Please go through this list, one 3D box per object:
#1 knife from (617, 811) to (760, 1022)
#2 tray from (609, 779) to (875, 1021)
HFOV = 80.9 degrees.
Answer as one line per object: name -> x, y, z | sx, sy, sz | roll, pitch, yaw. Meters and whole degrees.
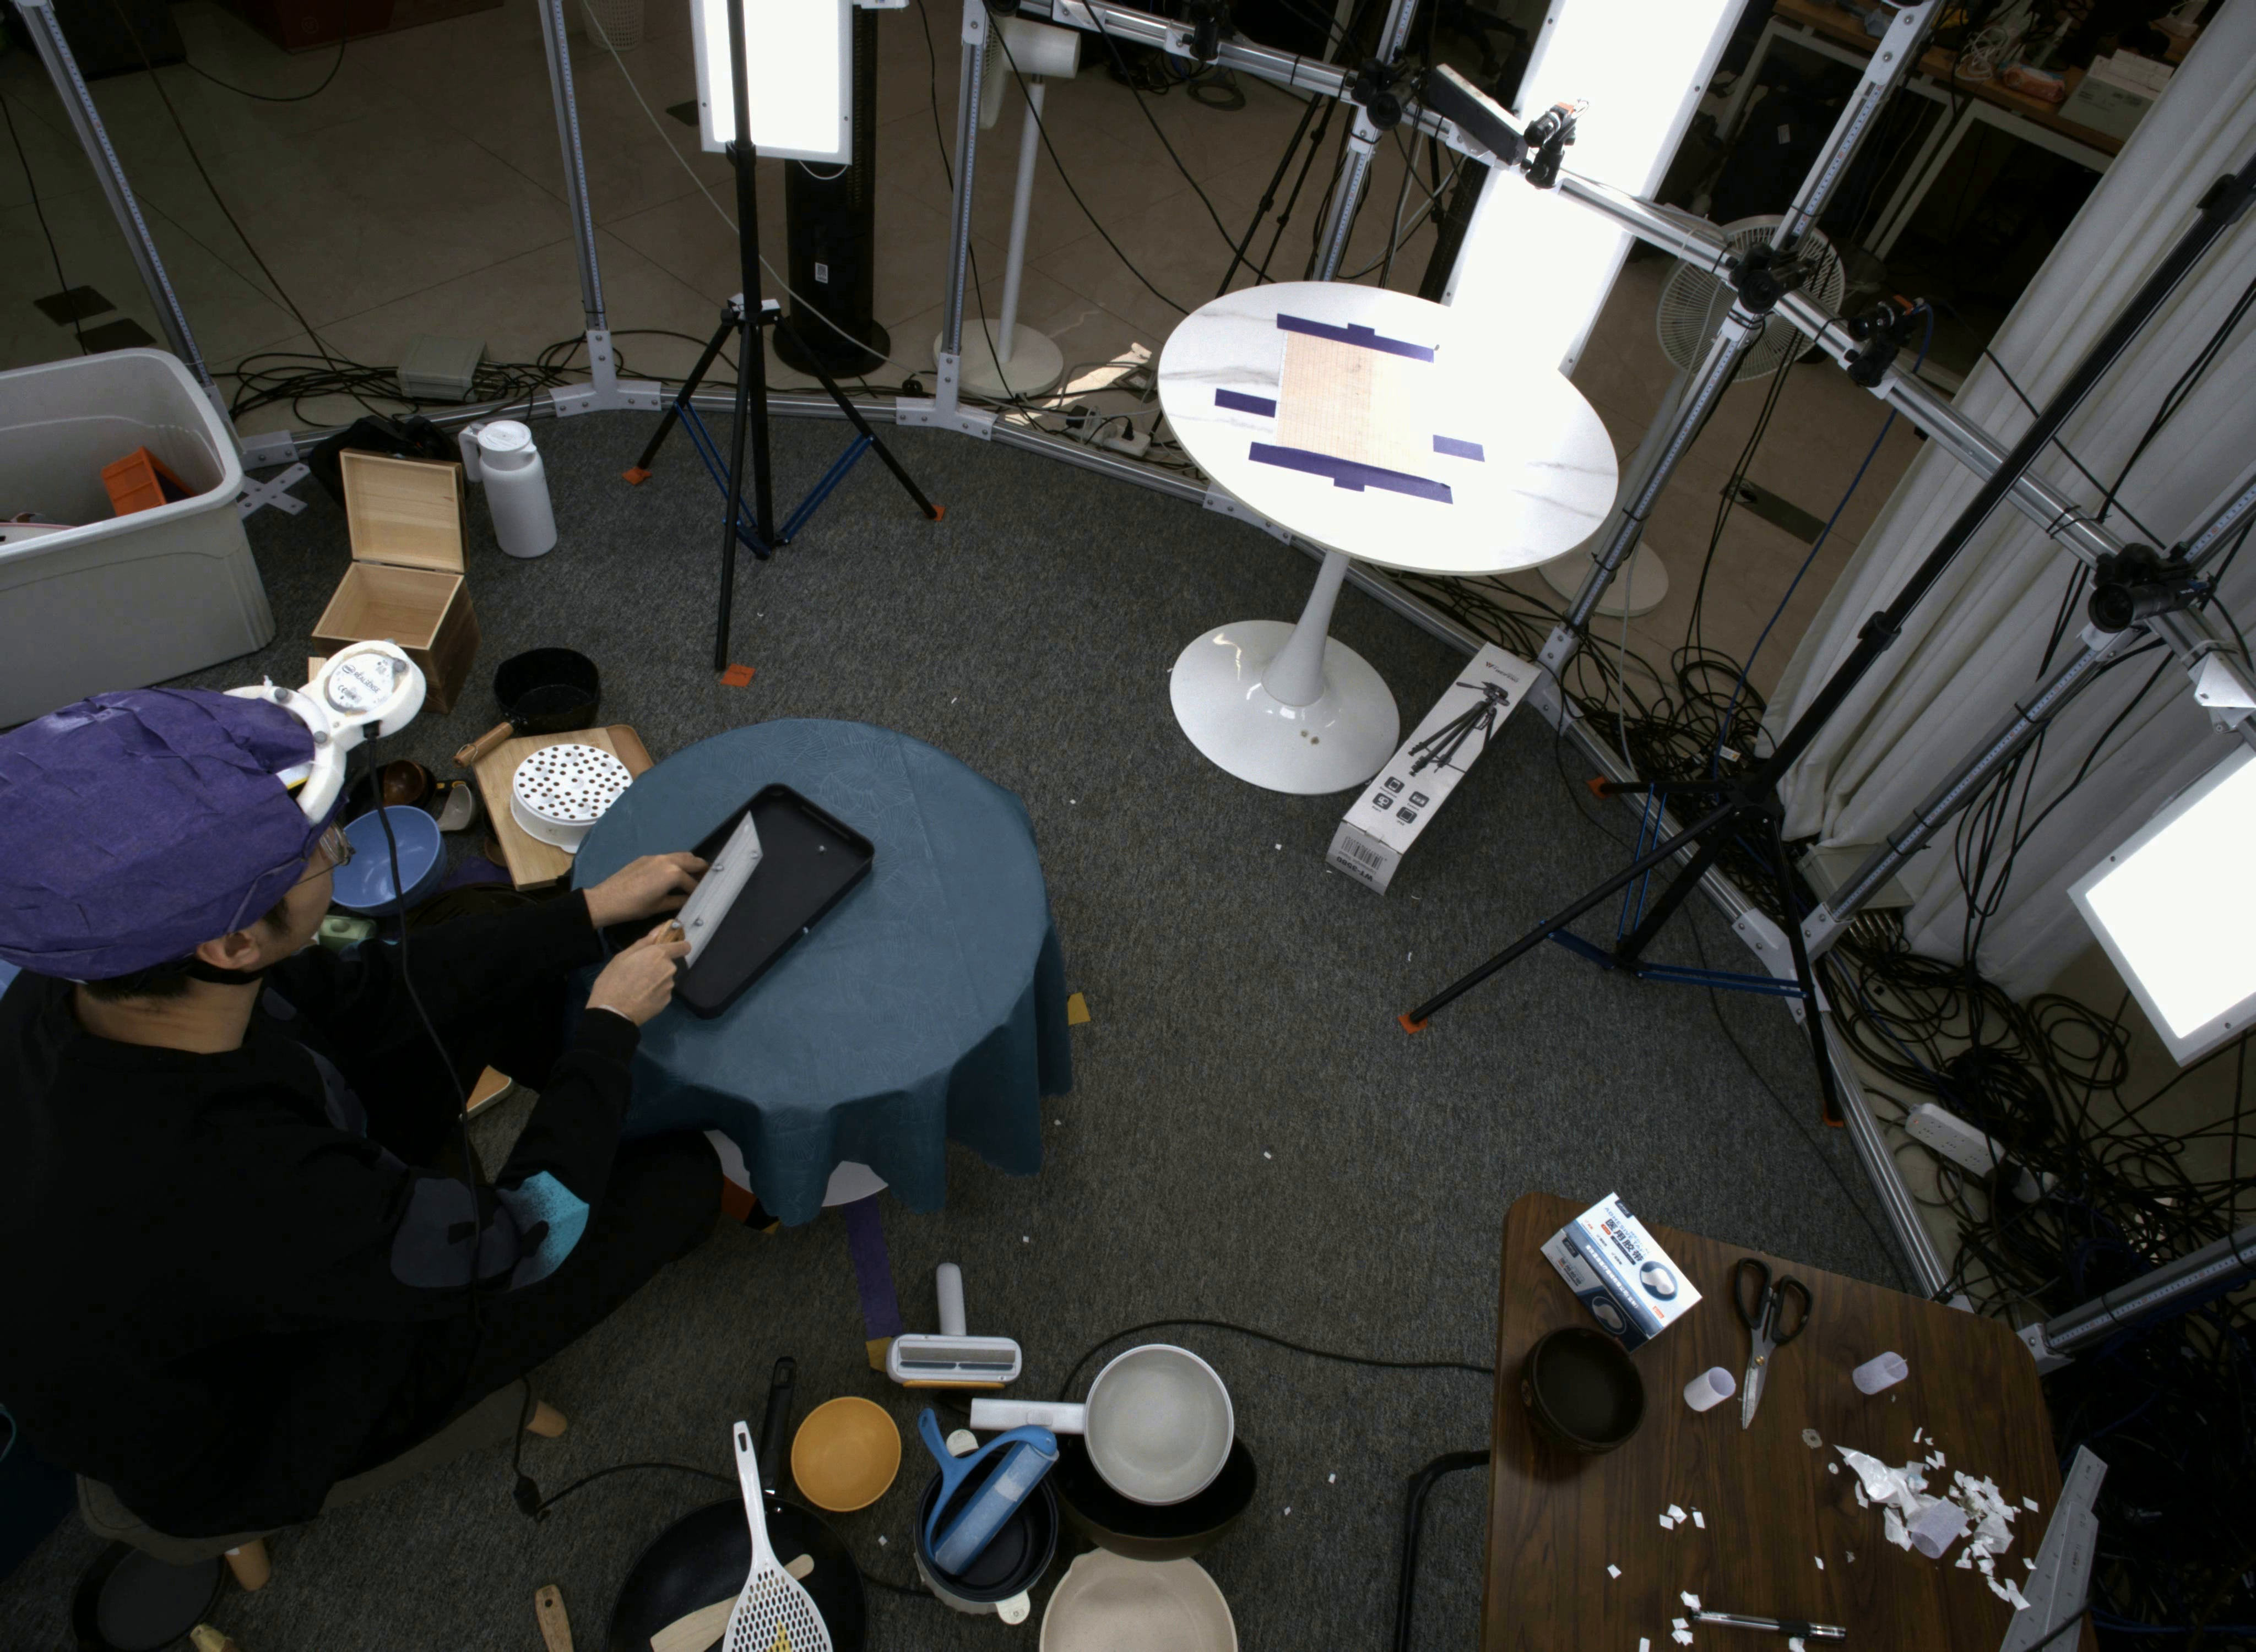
knife -> -0.514, 0.114, 1.529 | 0.020, 0.096, 0.303 | 13, 51, 11
tray -> -0.477, 0.083, 1.614 | 0.181, 0.038, 0.317 | 31, 53, 9
